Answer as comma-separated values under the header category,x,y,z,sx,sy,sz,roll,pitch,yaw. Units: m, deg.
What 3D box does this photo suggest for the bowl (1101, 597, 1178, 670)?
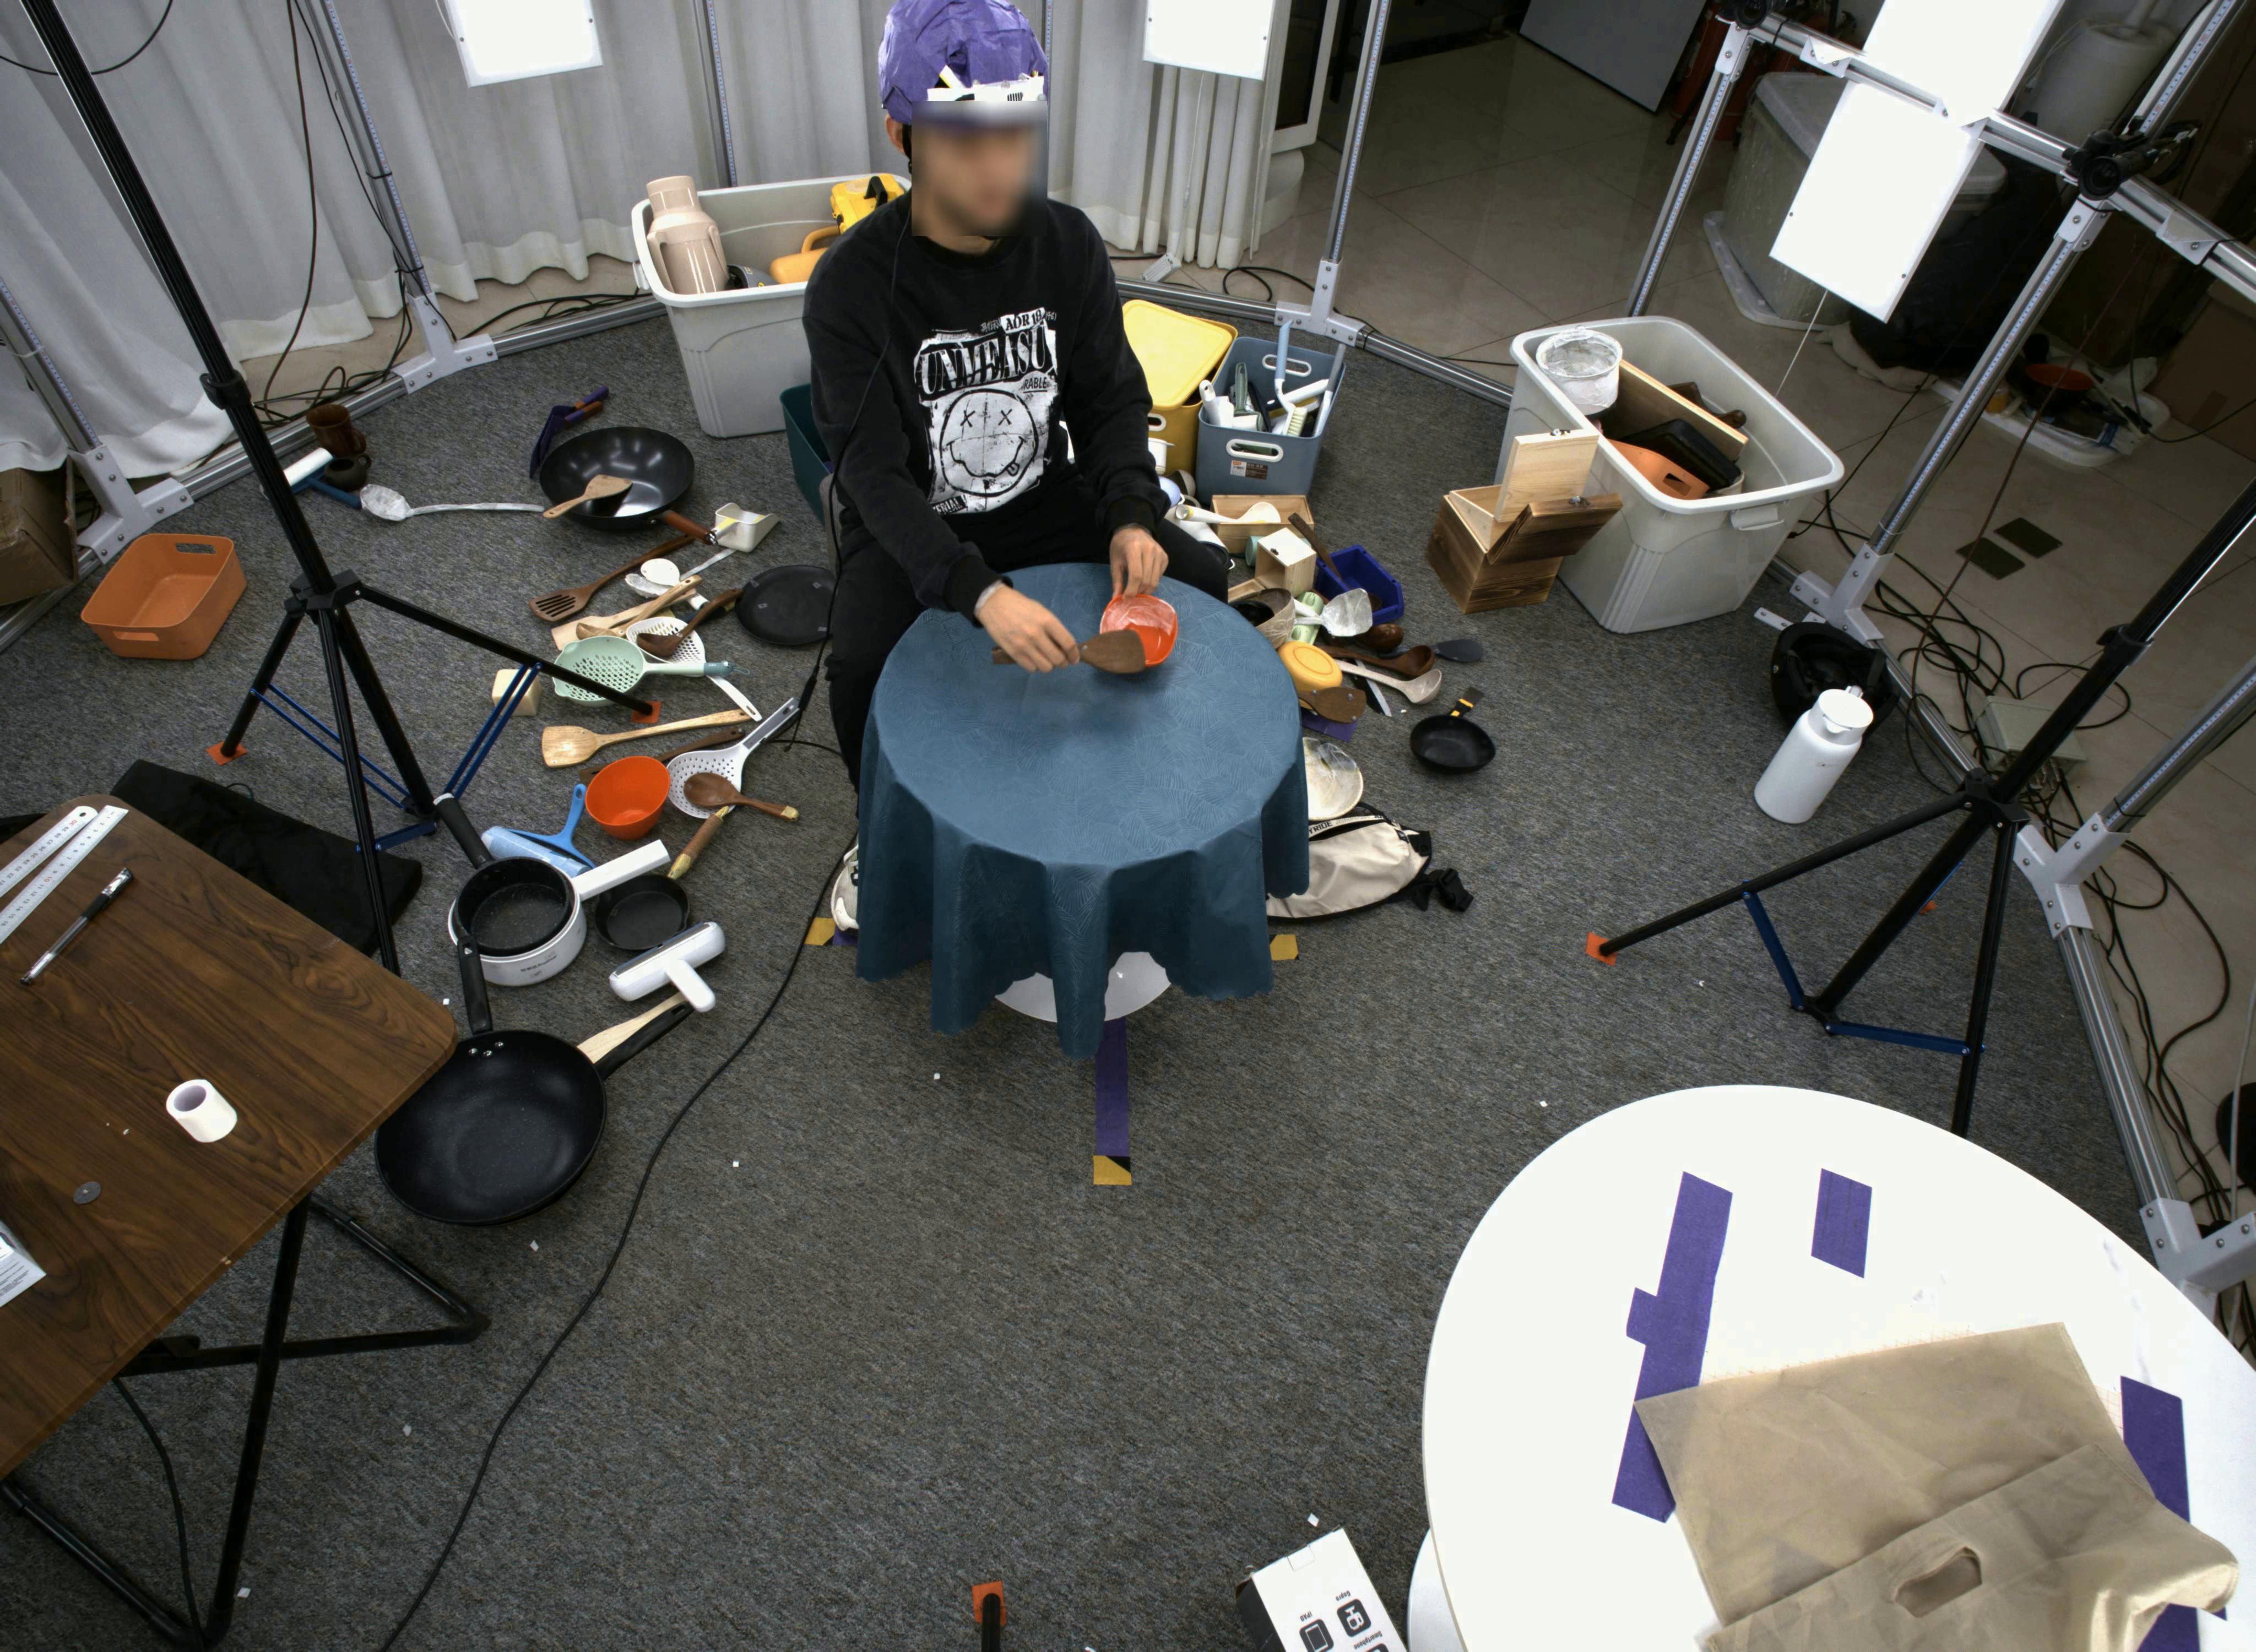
category,x,y,z,sx,sy,sz,roll,pitch,yaw
bowl,0.016,-0.274,1.879,0.119,0.050,0.121,1,72,-2

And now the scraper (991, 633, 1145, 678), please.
category,x,y,z,sx,sy,sz,roll,pitch,yaw
scraper,-0.082,-0.232,1.770,0.211,0.010,0.077,-3,59,-10
